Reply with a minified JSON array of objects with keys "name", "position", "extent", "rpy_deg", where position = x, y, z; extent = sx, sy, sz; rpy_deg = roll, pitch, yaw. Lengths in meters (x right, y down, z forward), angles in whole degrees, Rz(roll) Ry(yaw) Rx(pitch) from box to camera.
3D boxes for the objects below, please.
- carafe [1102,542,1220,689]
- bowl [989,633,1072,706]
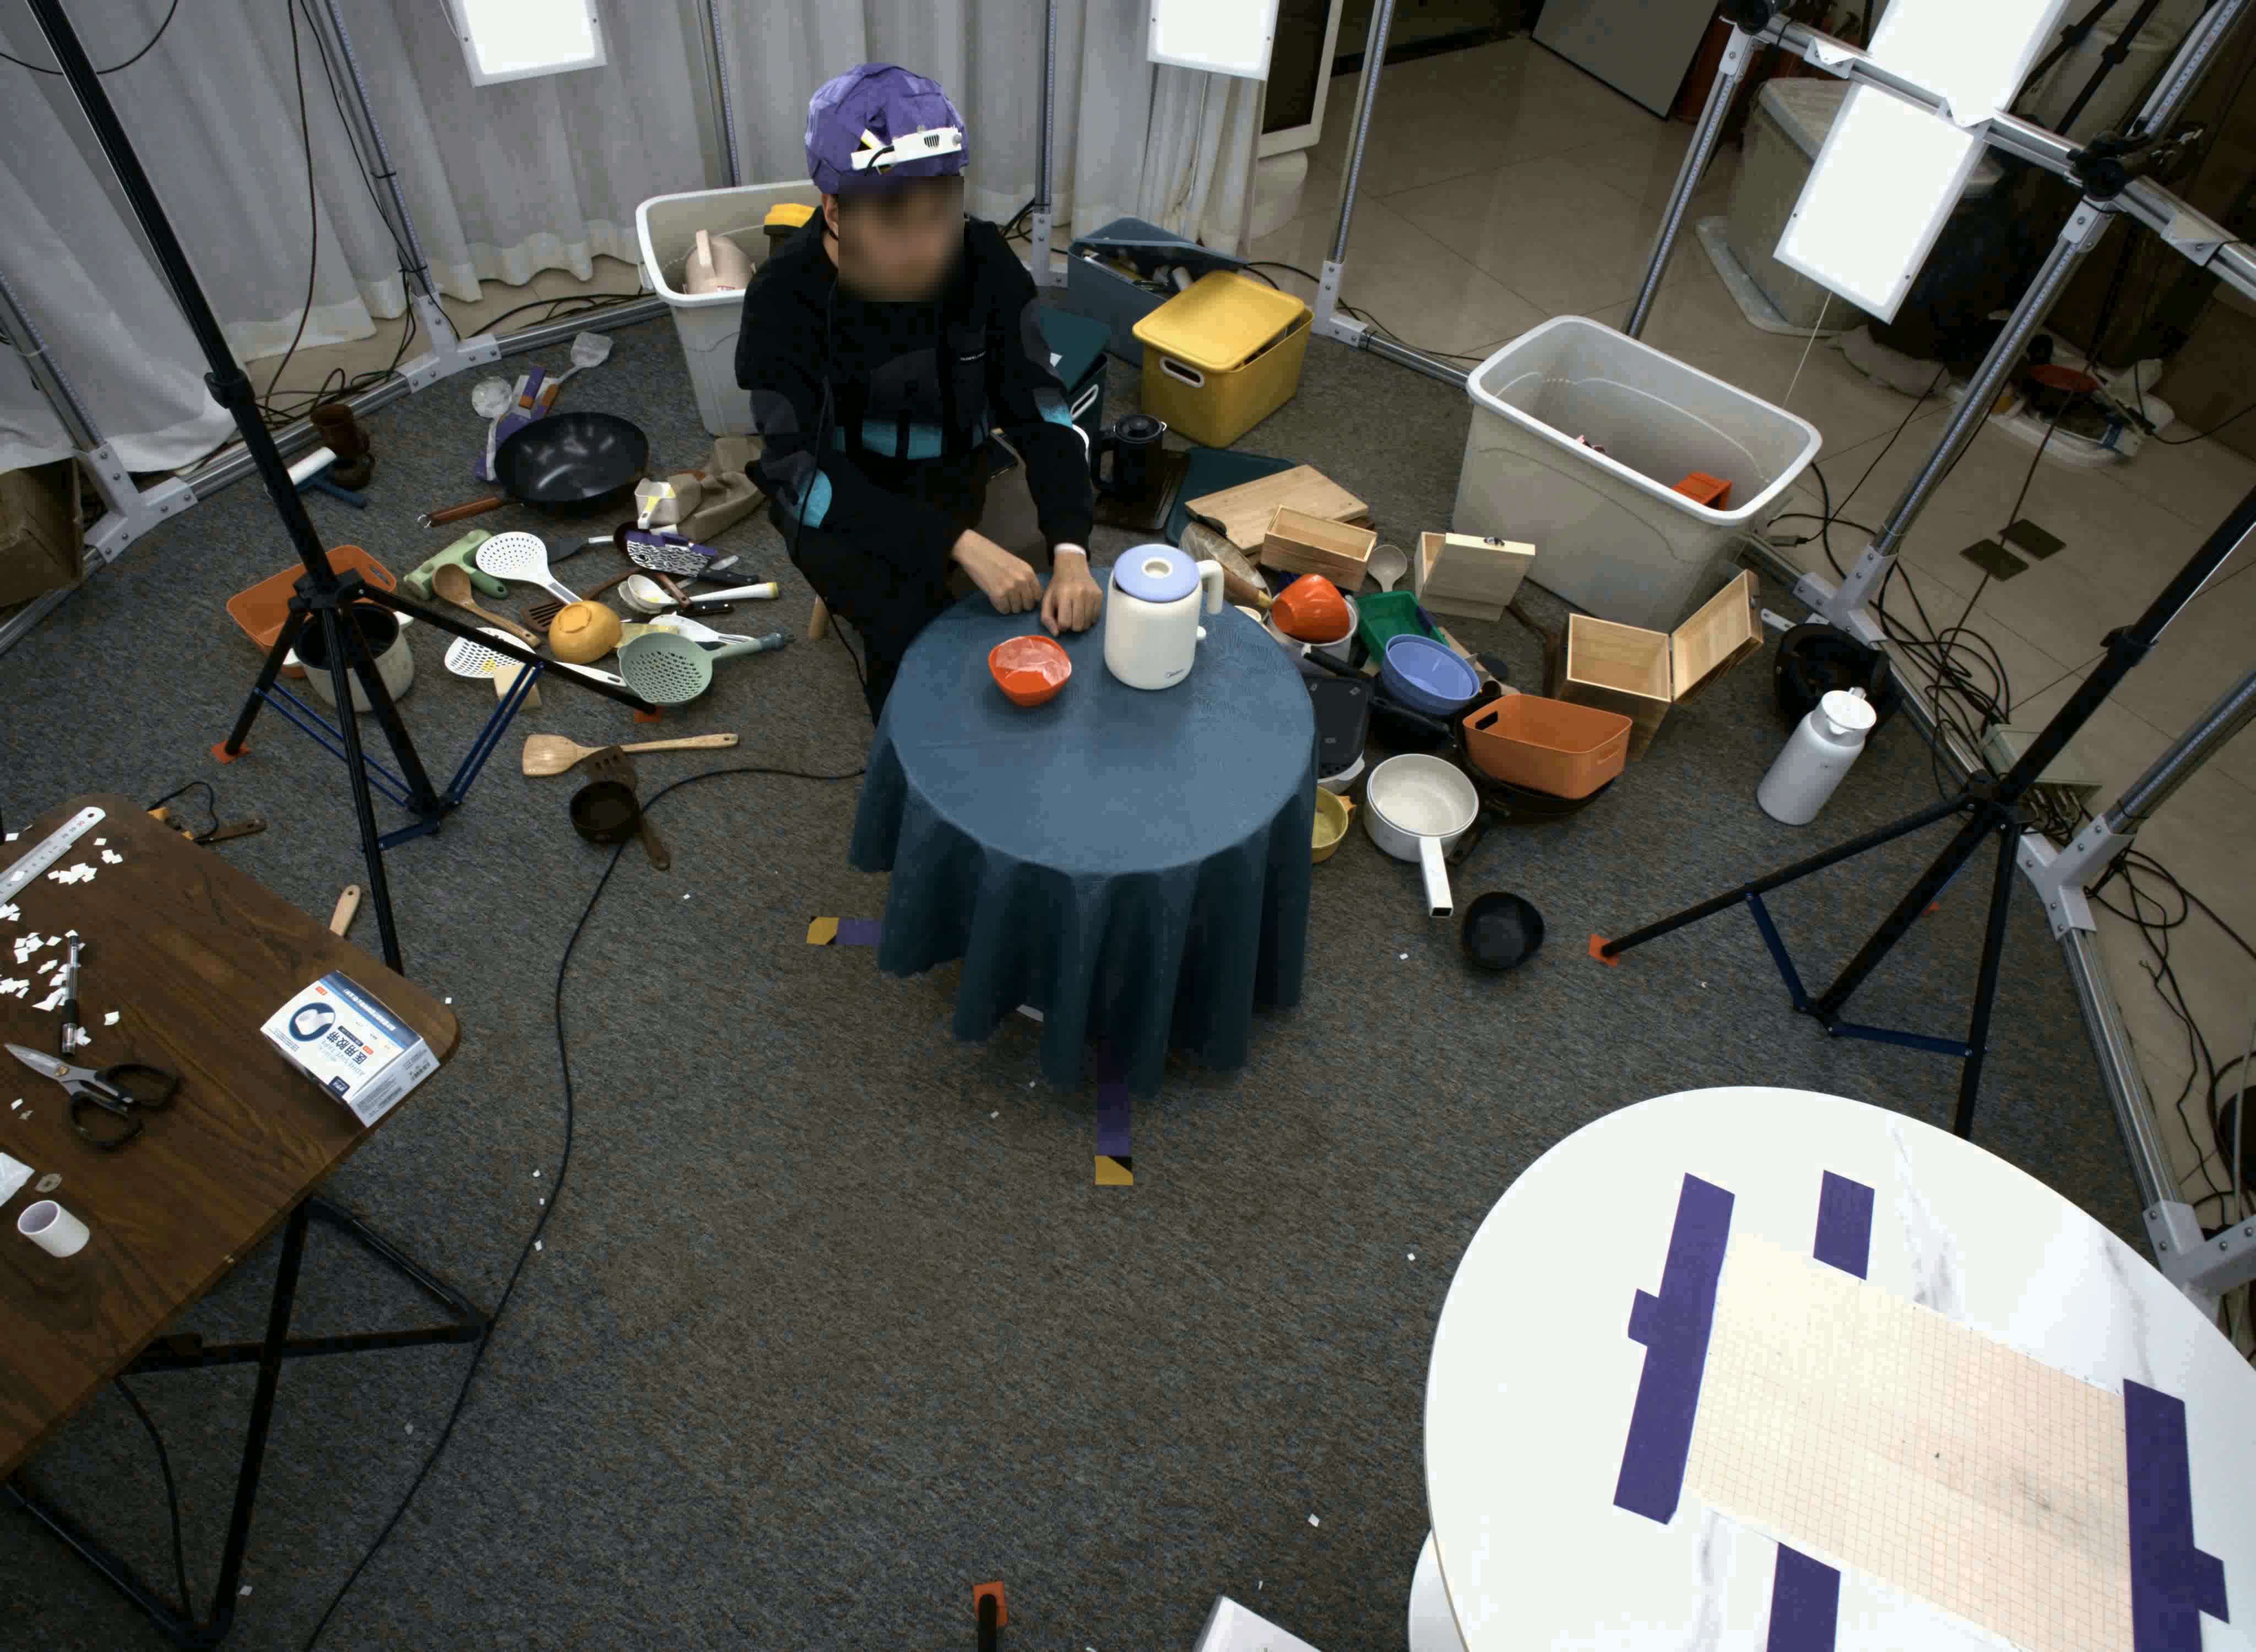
[{"name":"carafe","position":[0.054,-0.305,1.827],"extent":[0.192,0.178,0.135],"rpy_deg":[-24,56,-25]},{"name":"bowl","position":[-0.137,-0.213,1.809],"extent":[0.119,0.050,0.122],"rpy_deg":[1,53,-2]}]
